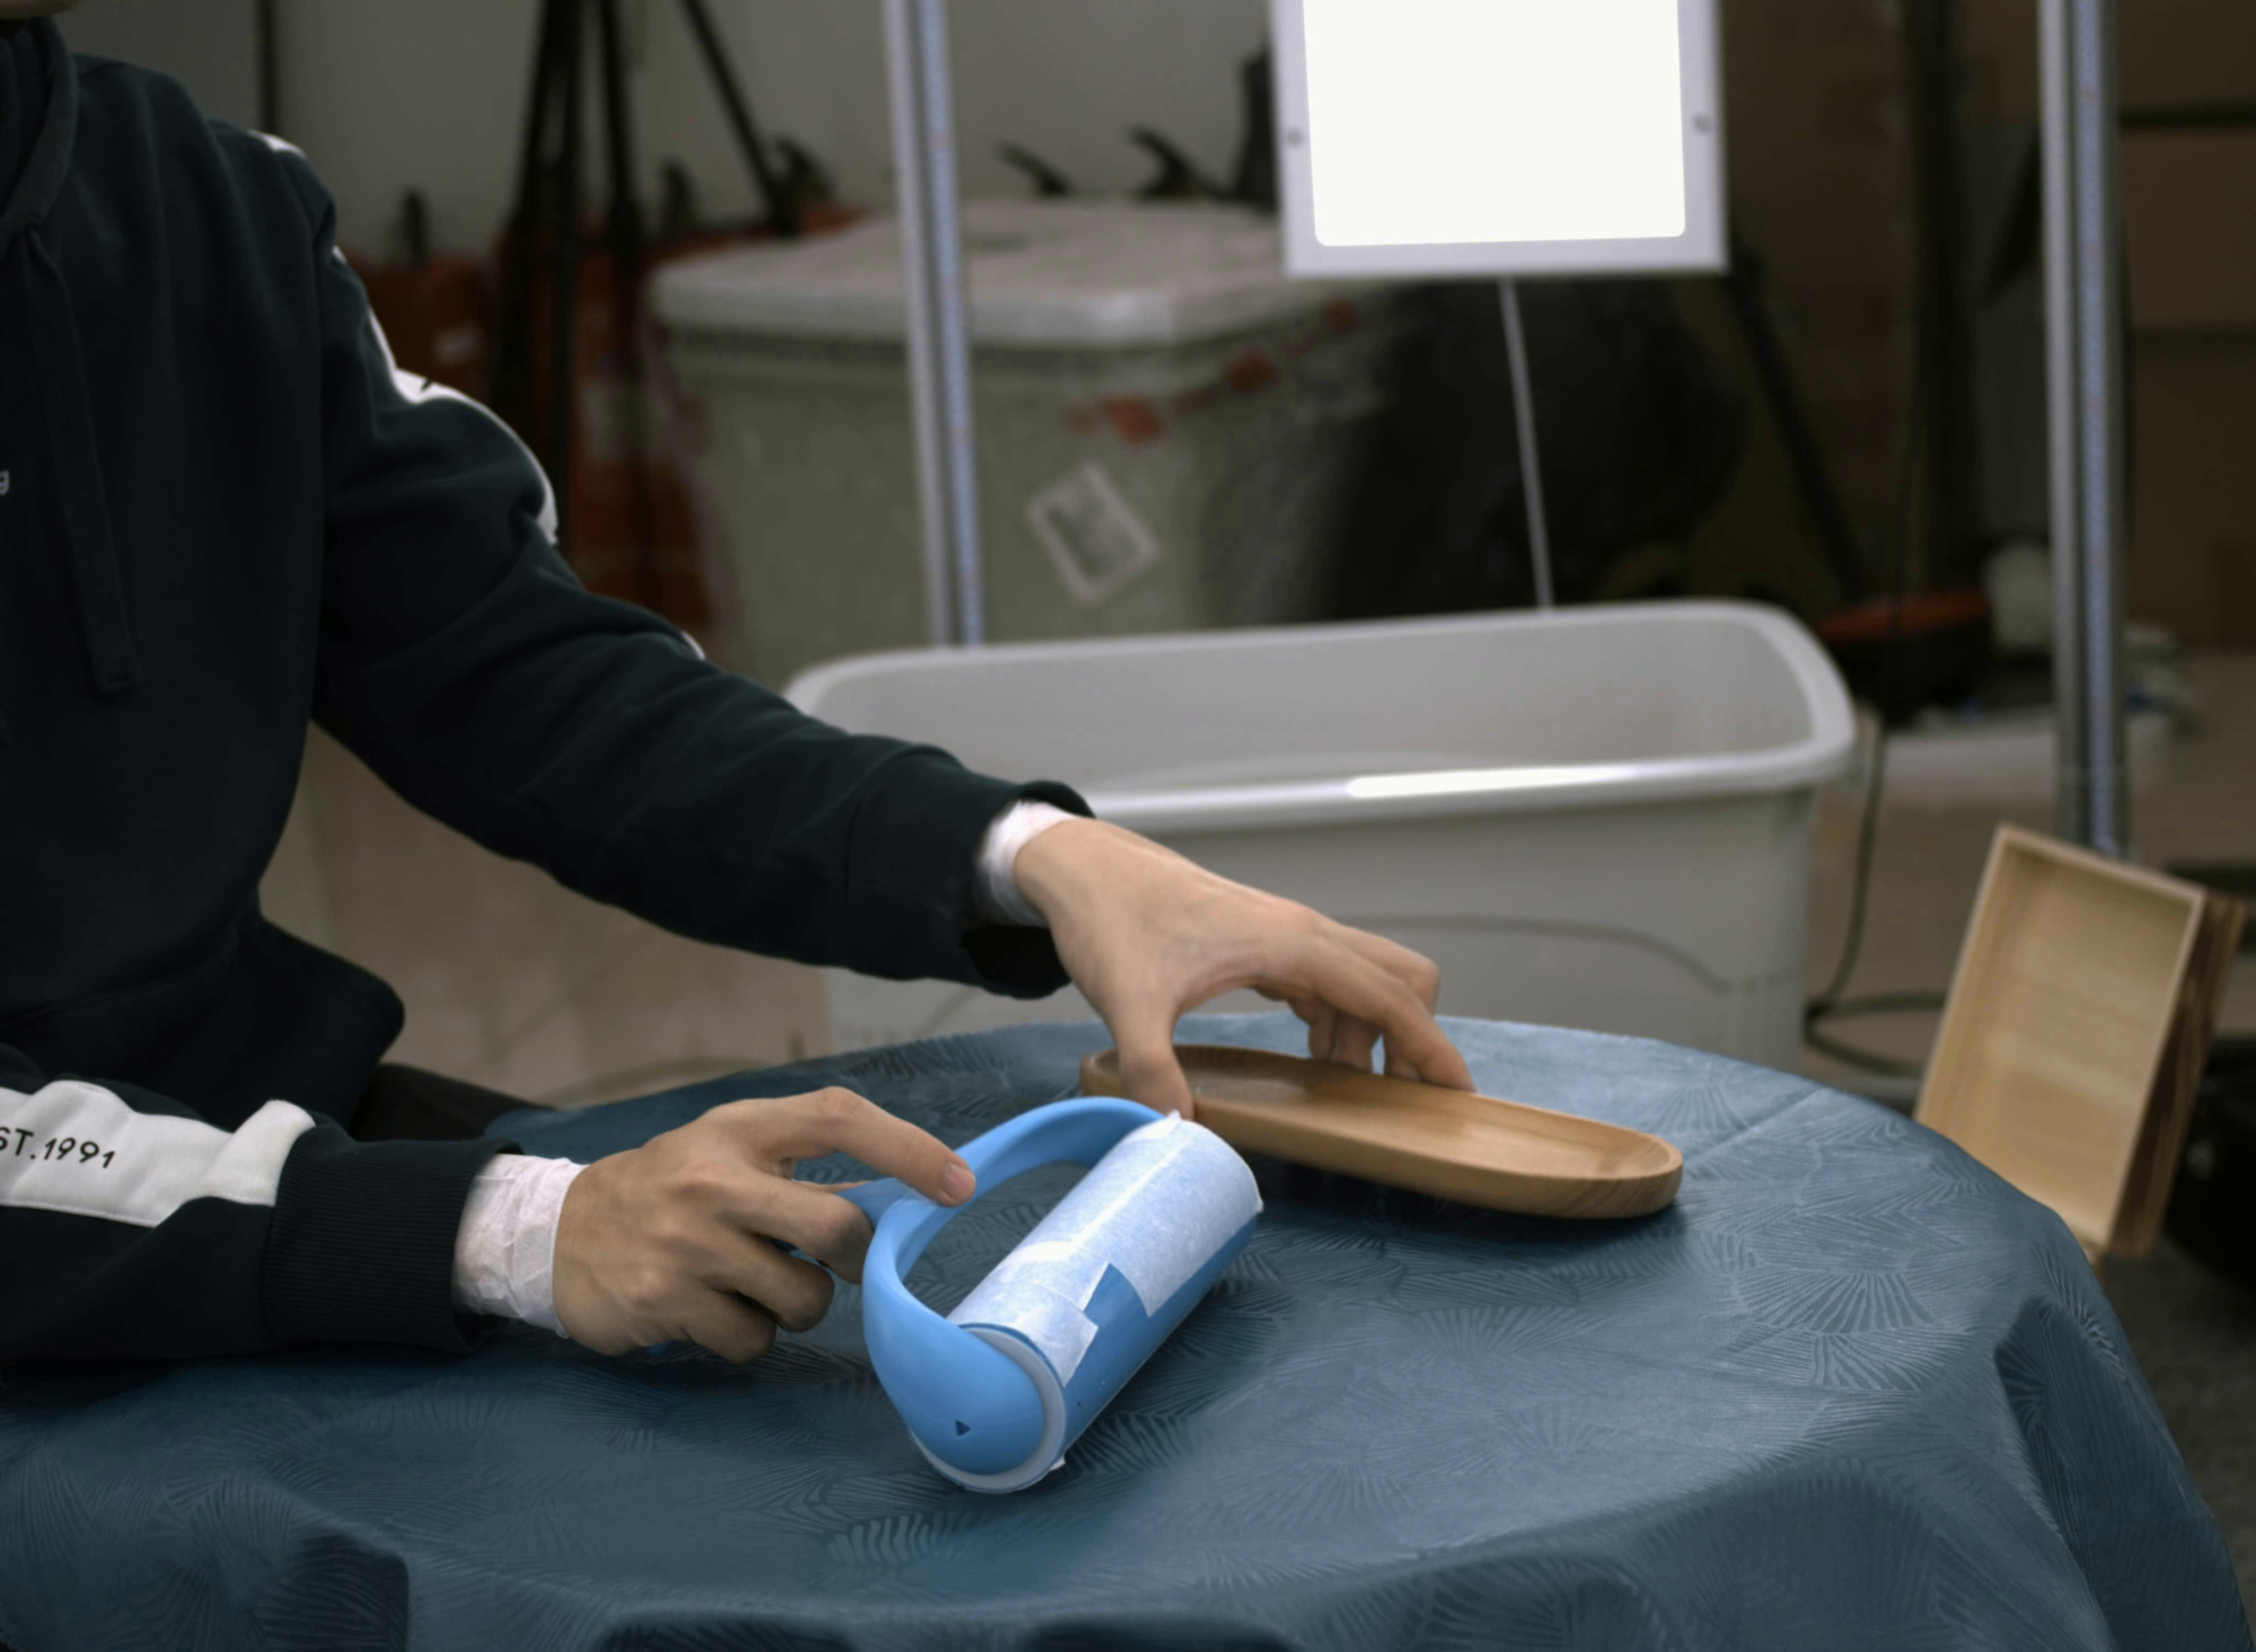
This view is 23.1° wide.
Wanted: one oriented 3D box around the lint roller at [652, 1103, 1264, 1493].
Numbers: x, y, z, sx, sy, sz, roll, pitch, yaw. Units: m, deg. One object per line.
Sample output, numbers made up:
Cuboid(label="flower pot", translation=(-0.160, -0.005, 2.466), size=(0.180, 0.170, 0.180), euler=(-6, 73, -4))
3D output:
Cuboid(label="lint roller", translation=(-0.067, 0.144, 1.720), size=(0.182, 0.068, 0.225), euler=(1, 17, 17))

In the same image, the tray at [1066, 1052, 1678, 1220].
Cuboid(label="tray", translation=(0.082, 0.105, 1.880), size=(0.236, 0.020, 0.099), euler=(8, 10, 37))
